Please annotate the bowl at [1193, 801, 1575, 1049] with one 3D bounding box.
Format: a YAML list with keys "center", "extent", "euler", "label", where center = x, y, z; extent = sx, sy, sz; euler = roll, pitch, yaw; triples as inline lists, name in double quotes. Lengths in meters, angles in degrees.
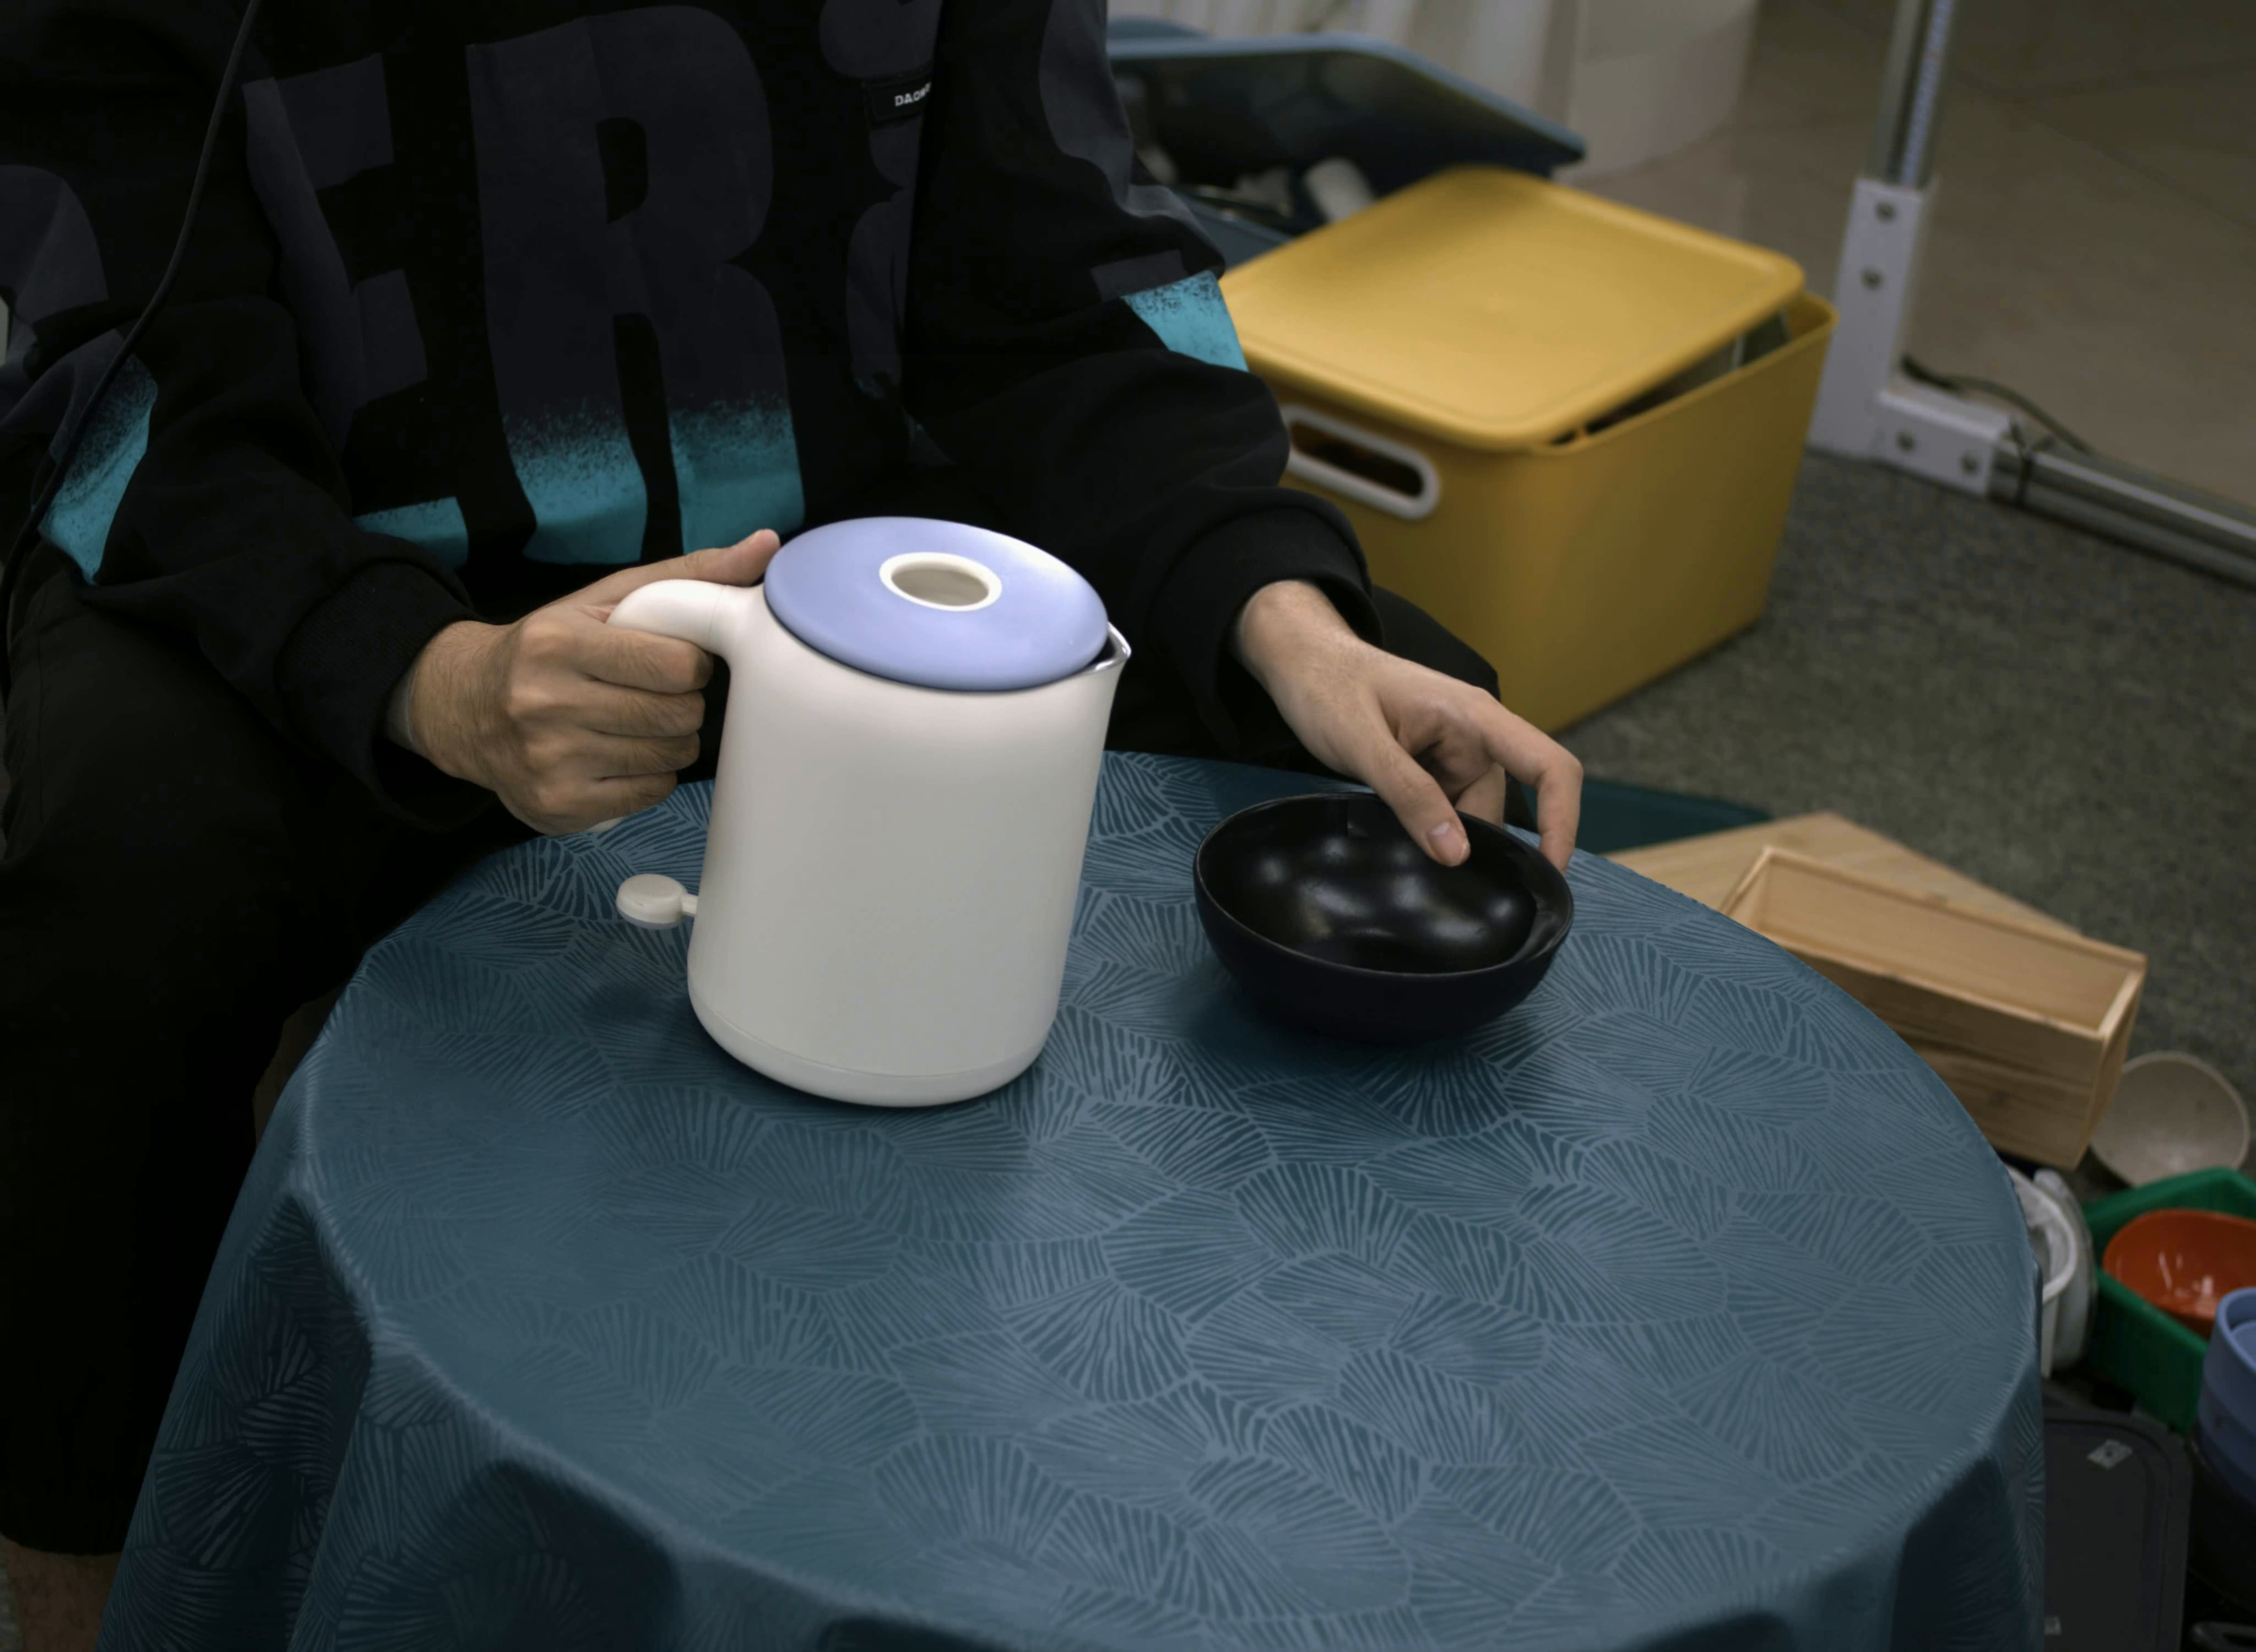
- center: [0.090, 0.043, 1.925]
  extent: [0.139, 0.049, 0.141]
  euler: [4, 25, -2]
  label: "bowl"

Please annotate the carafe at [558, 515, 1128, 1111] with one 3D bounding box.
- center: [-0.102, -0.009, 1.842]
  extent: [0.191, 0.182, 0.132]
  euler: [10, 26, 6]
  label: "carafe"
